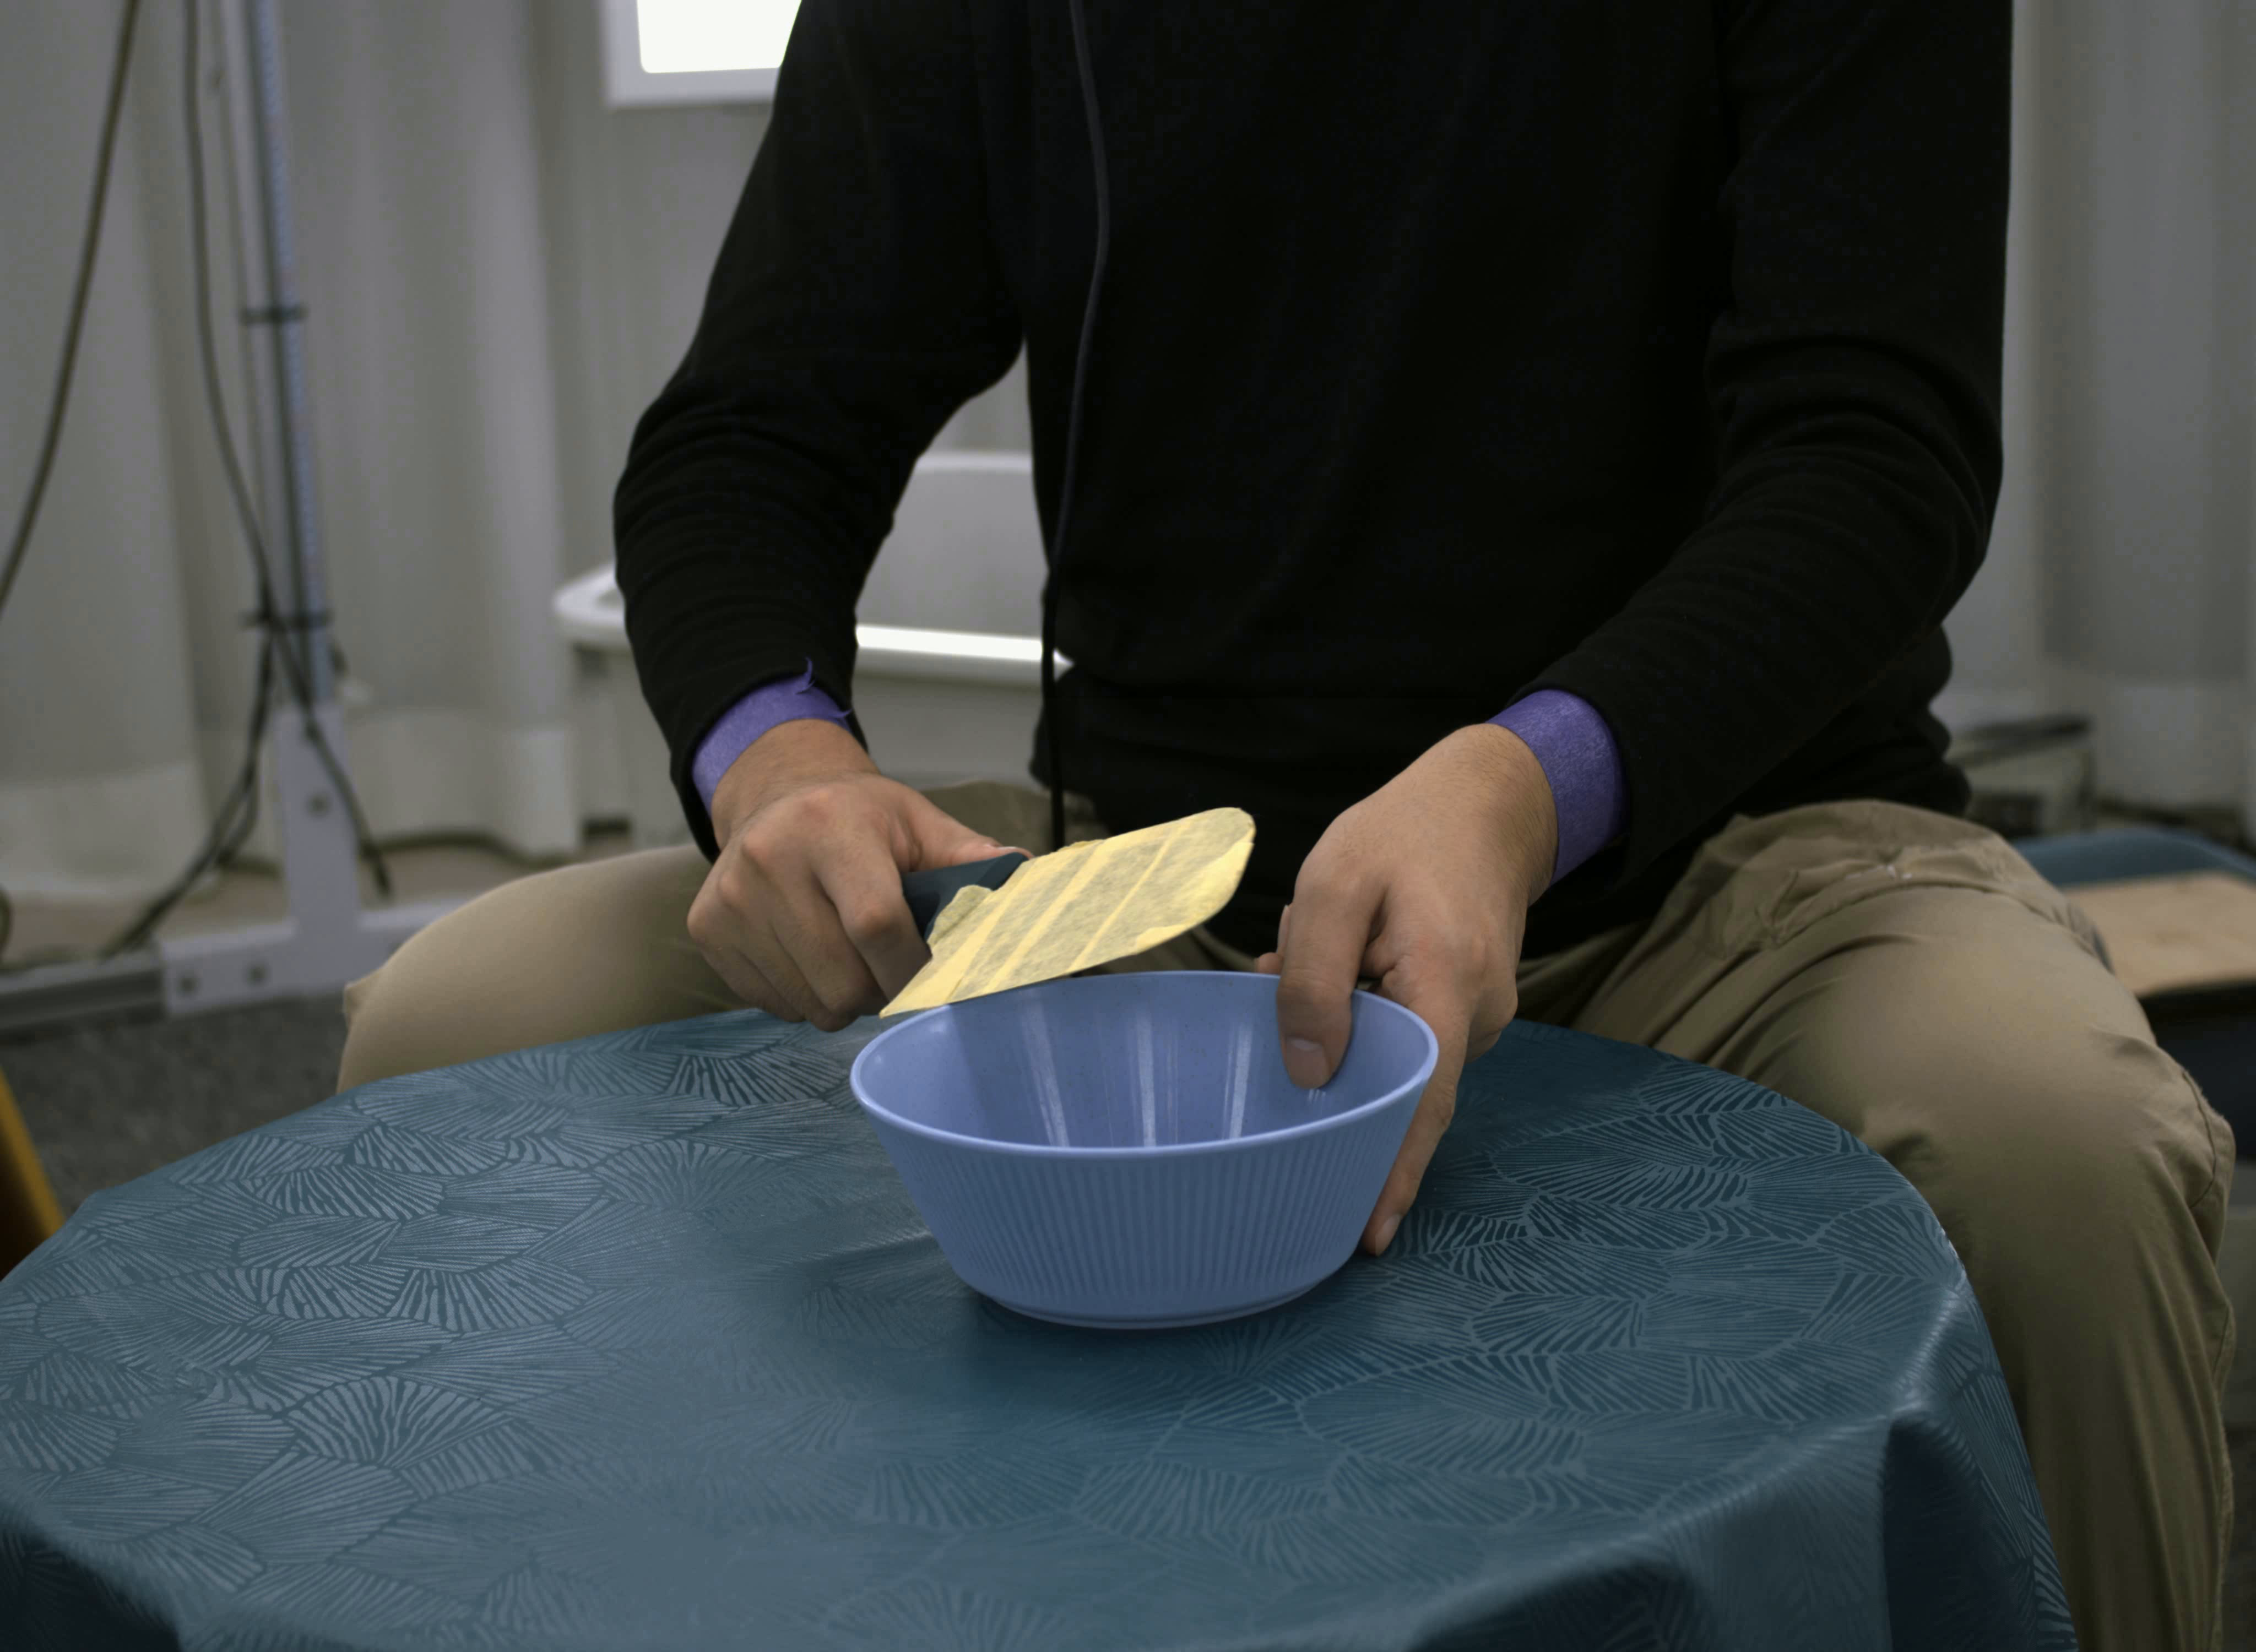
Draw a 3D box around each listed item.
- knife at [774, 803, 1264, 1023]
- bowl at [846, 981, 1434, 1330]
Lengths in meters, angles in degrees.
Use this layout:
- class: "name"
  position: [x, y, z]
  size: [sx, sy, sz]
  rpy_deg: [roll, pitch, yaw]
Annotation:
- class: "knife"
  position: [-0.042, 0.034, 1.724]
  size: [0.081, 0.027, 0.289]
  rpy_deg: [-46, 16, -30]
- class: "bowl"
  position: [0.005, 0.101, 1.634]
  size: [0.175, 0.070, 0.177]
  rpy_deg: [-3, 14, 1]
